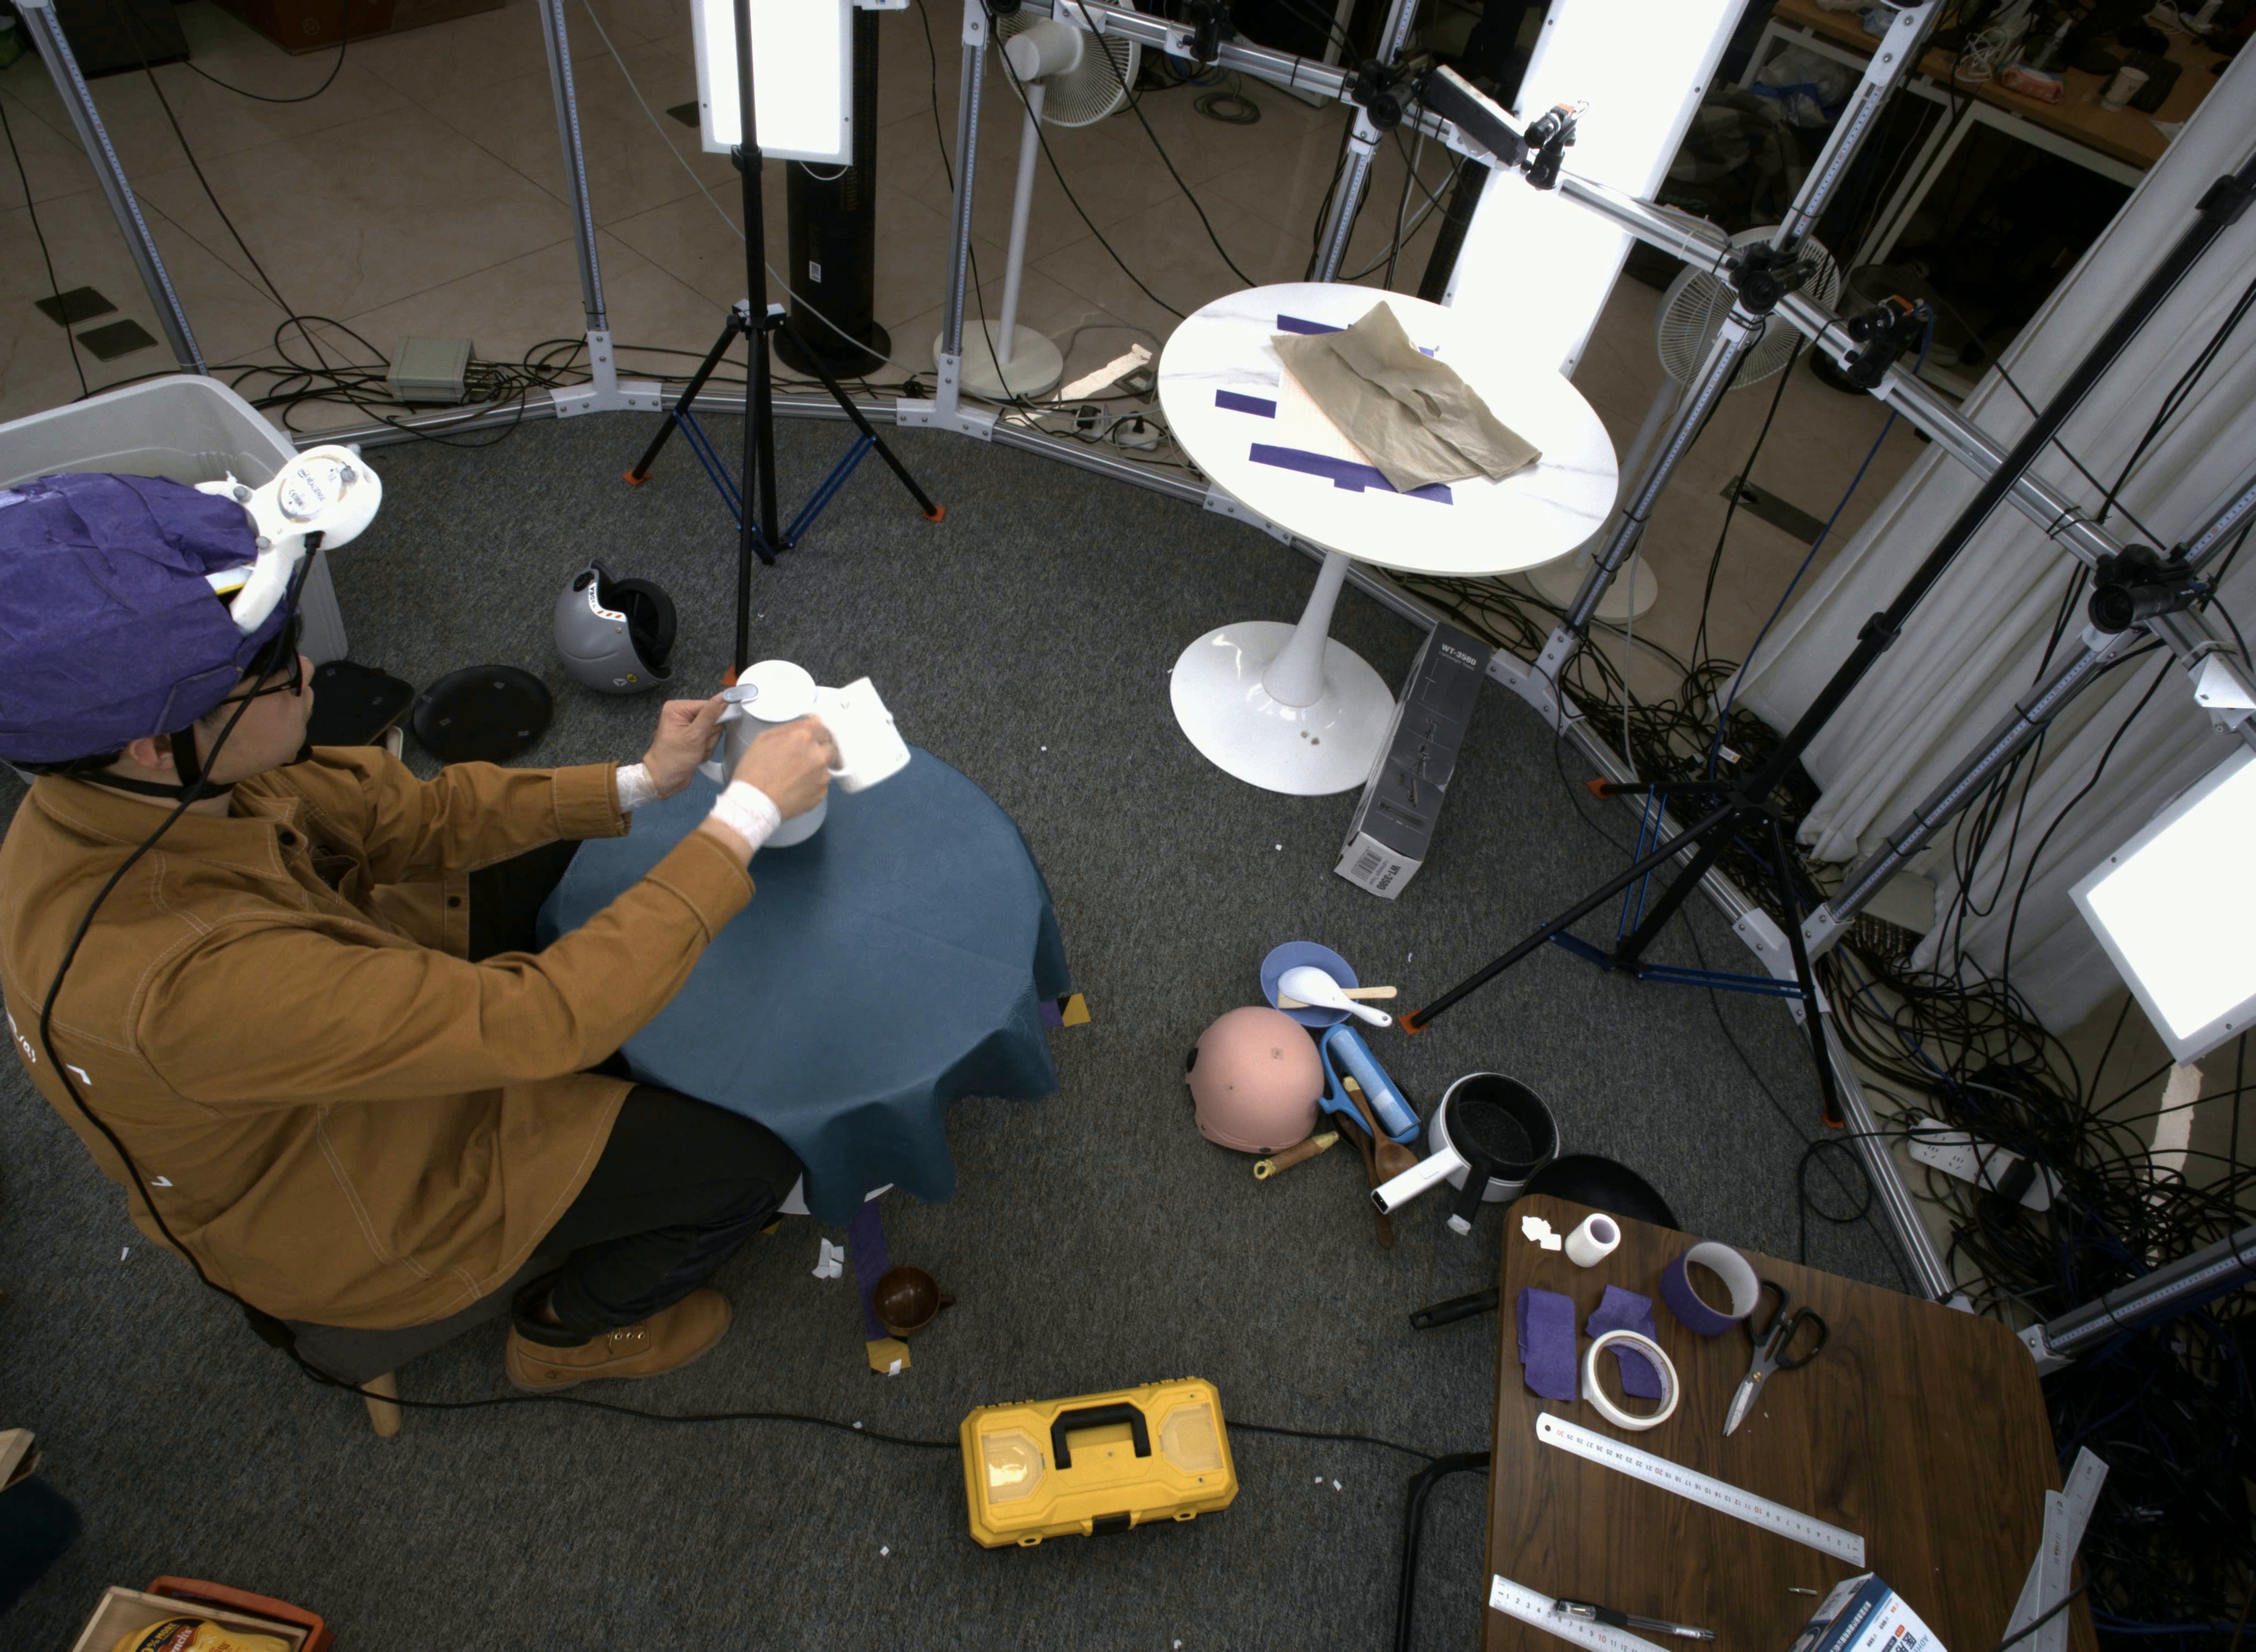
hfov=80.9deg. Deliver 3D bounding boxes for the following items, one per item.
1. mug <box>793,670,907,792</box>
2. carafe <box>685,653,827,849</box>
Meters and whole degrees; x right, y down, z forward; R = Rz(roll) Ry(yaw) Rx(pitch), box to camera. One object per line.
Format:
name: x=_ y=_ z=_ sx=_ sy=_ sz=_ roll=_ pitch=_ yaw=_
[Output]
mug: x=-0.303 y=-0.094 z=1.378 sx=0.104 sy=0.083 sz=0.118 roll=63 pitch=33 yaw=-16
carafe: x=-0.450 y=-0.094 z=1.570 sx=0.168 sy=0.252 sz=0.130 roll=-10 pitch=60 yaw=-20
